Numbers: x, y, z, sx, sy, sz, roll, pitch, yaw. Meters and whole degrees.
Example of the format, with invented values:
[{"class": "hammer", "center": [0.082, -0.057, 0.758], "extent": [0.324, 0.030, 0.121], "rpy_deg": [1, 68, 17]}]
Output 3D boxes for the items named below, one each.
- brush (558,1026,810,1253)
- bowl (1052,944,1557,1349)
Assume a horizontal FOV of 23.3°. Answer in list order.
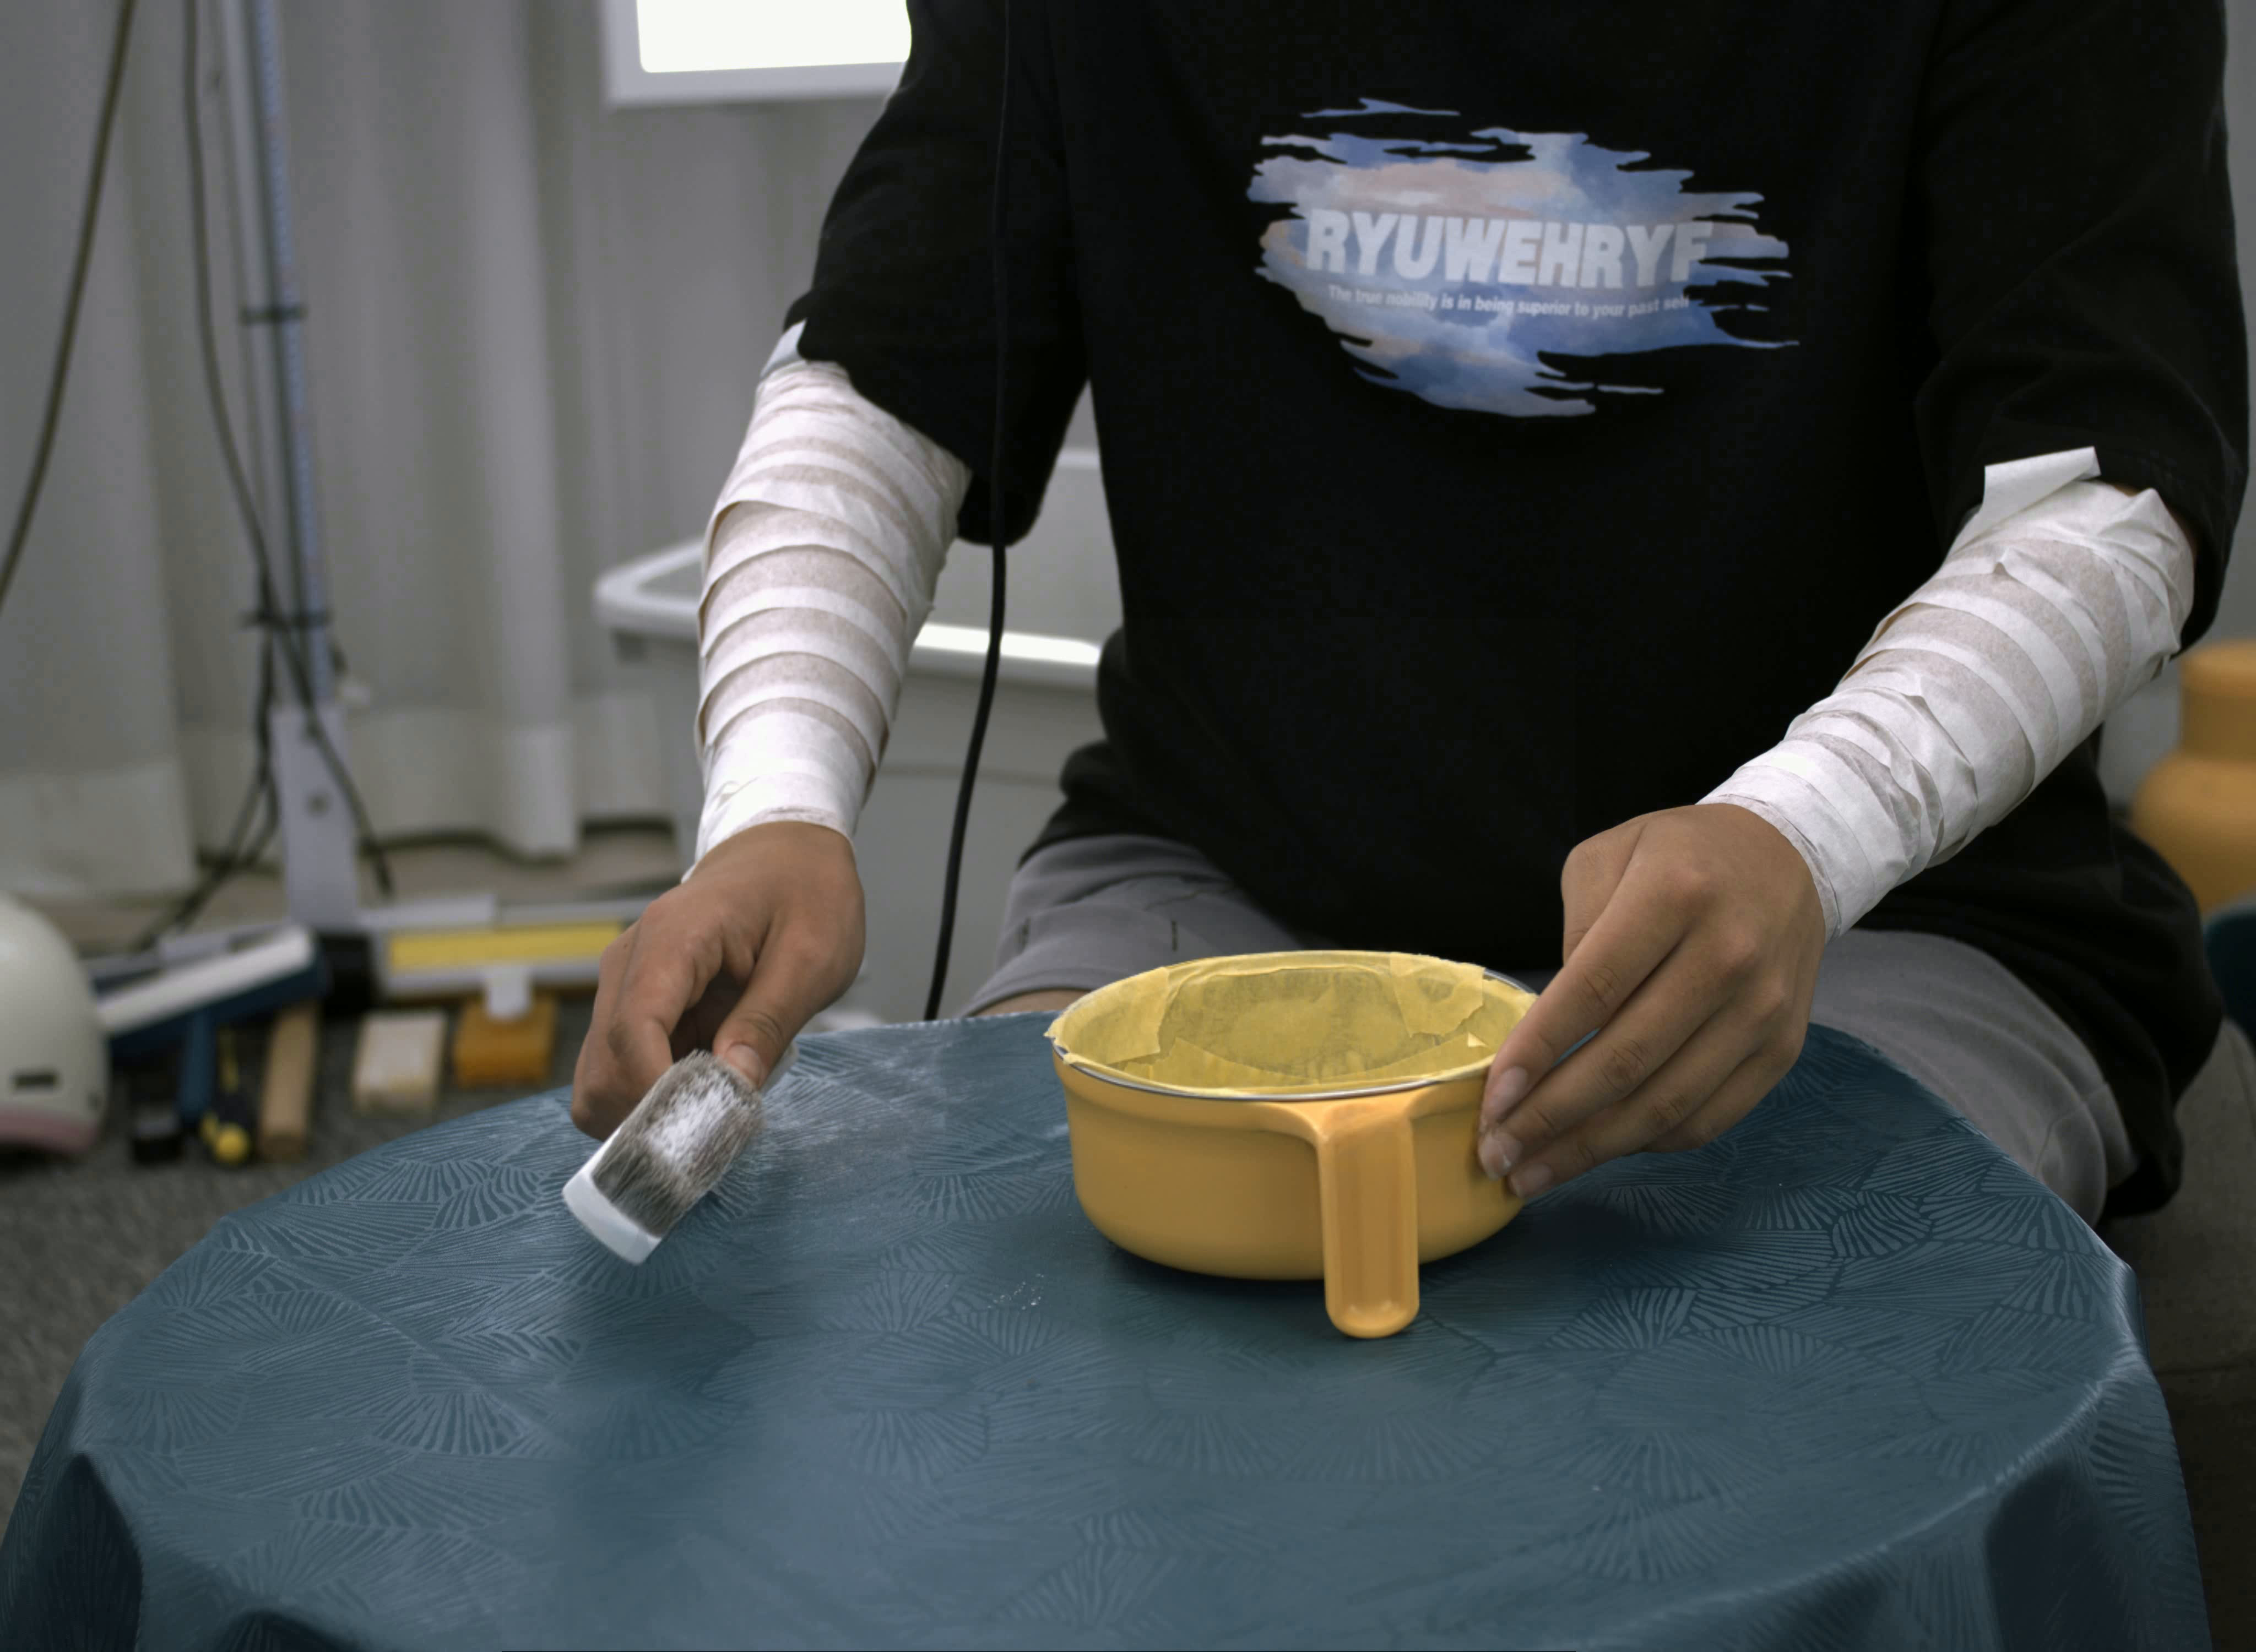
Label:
[{"class": "brush", "center": [-0.122, 0.081, 1.696], "extent": [0.034, 0.050, 0.244], "rpy_deg": [43, 14, 1]}, {"class": "bowl", "center": [0.055, 0.093, 1.650], "extent": [0.152, 0.074, 0.180], "rpy_deg": [-2, 15, -12]}]
